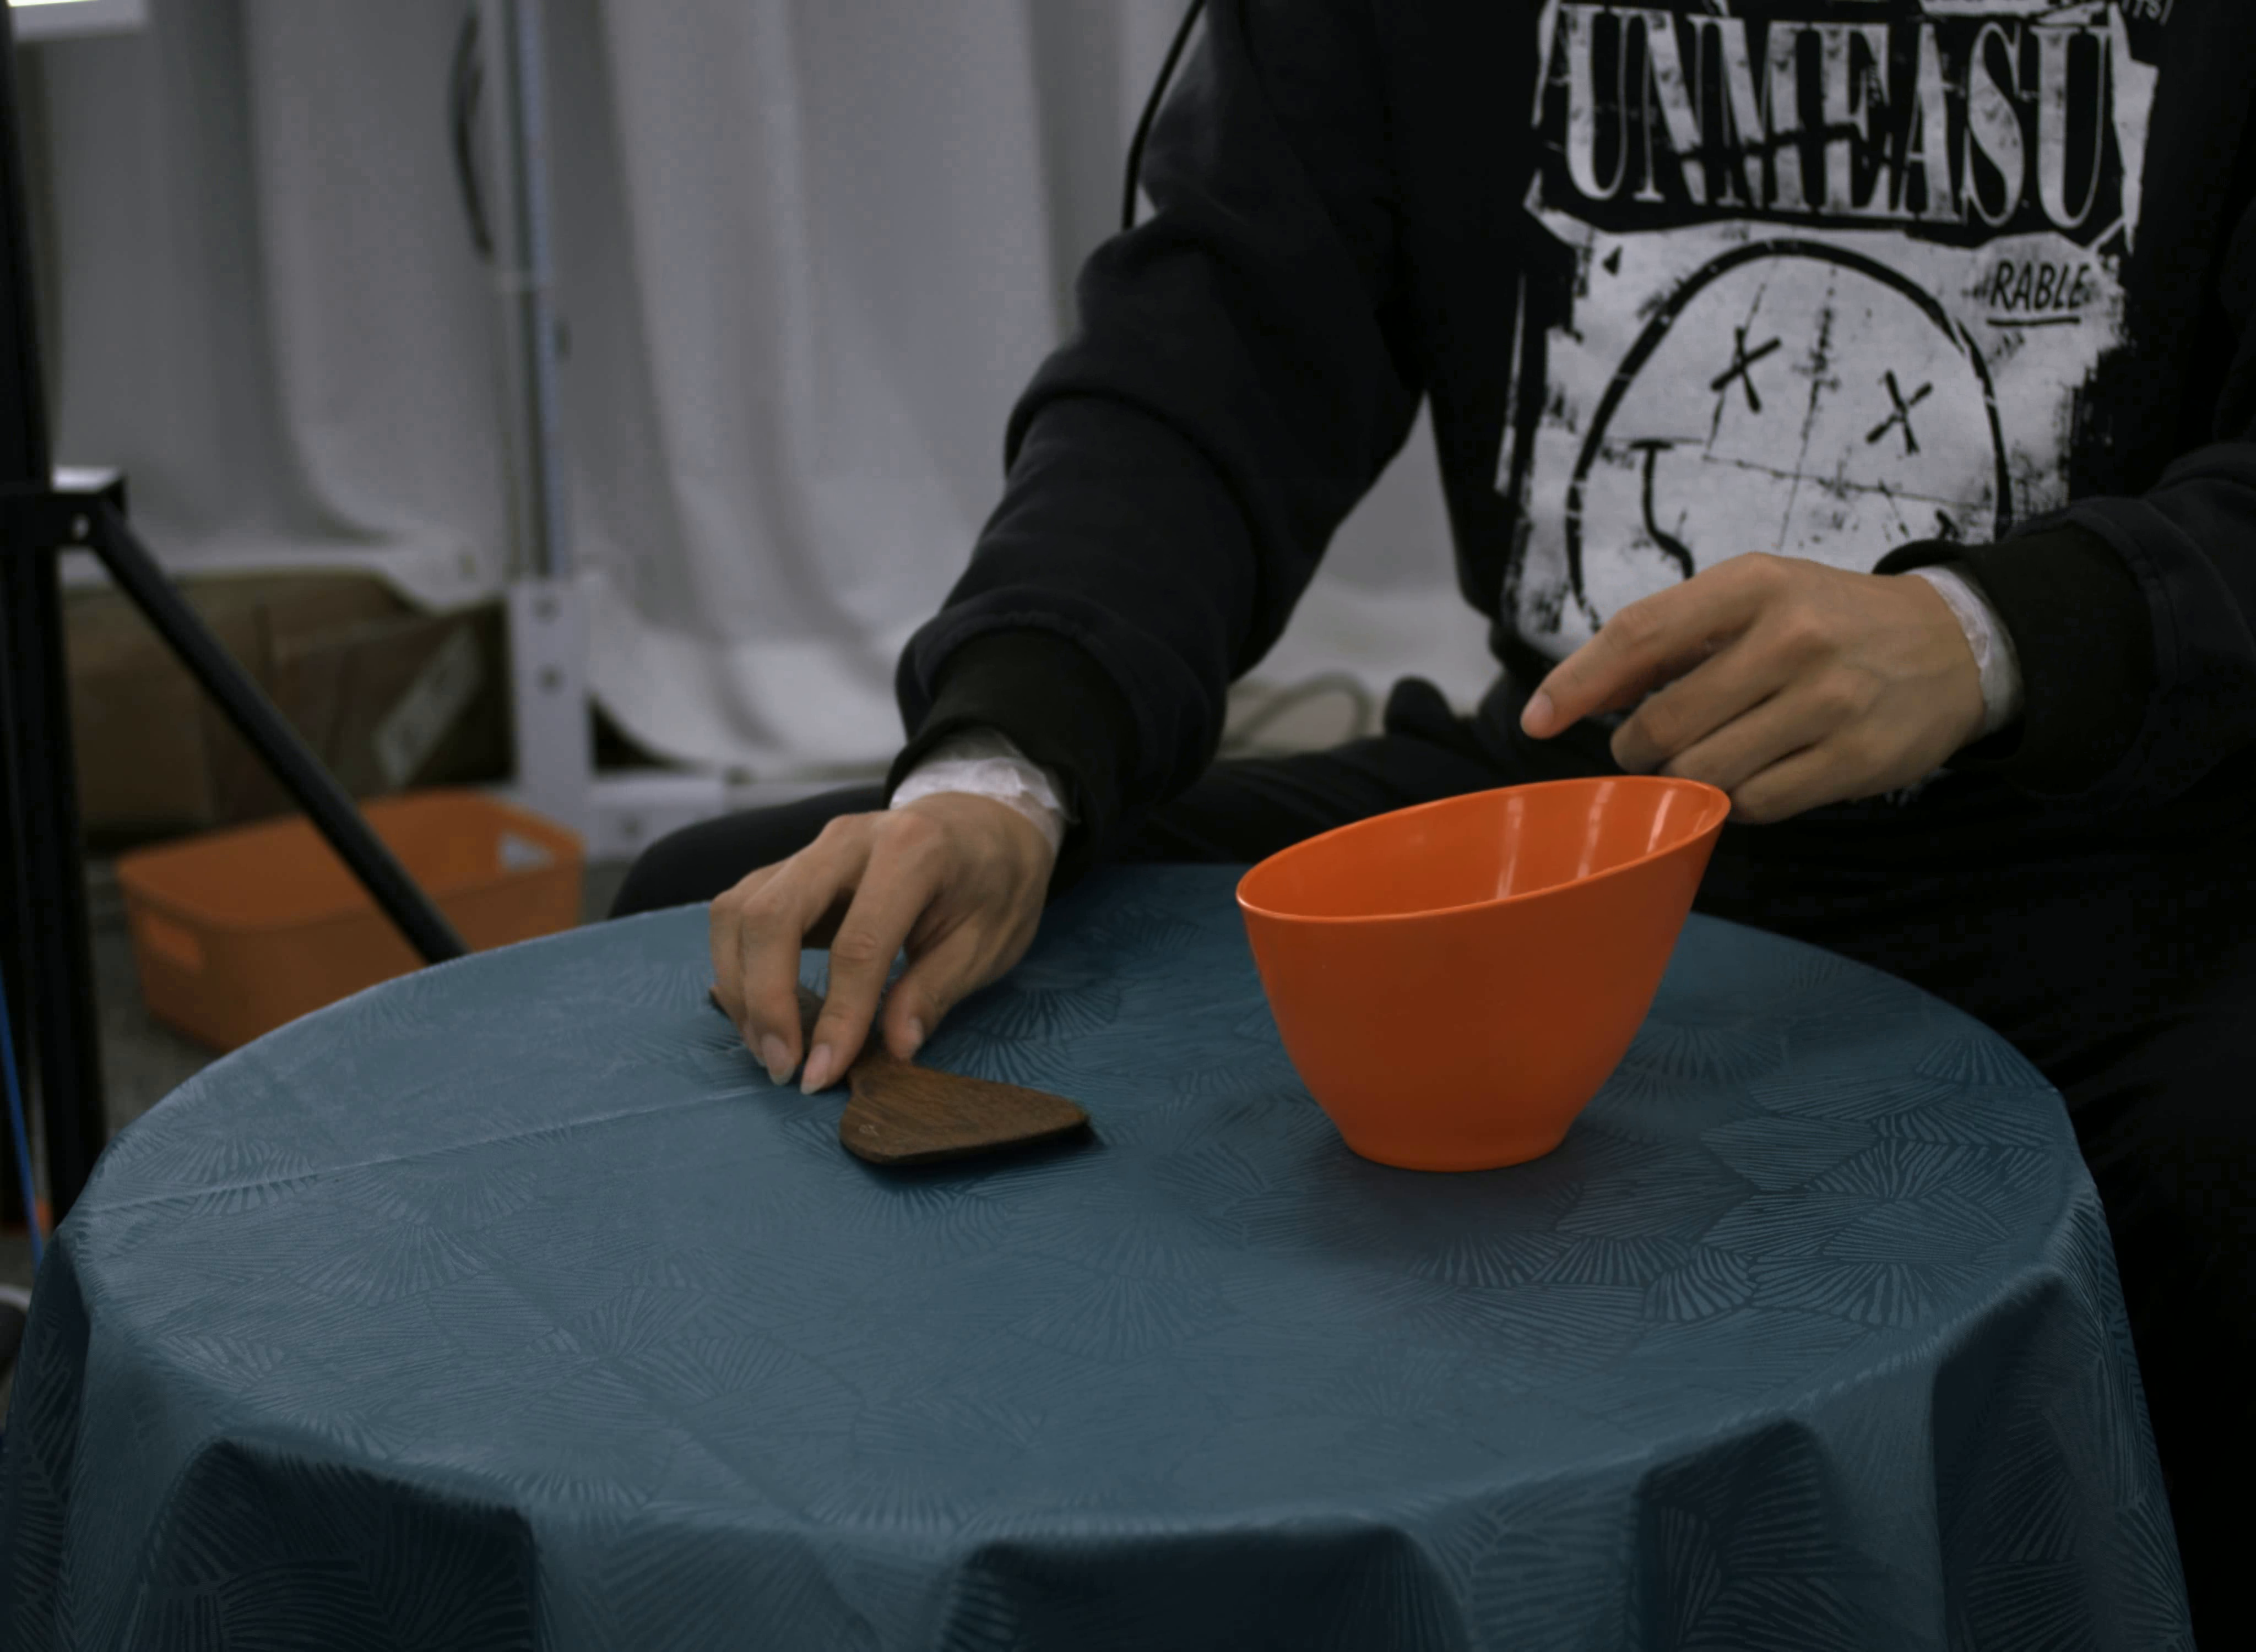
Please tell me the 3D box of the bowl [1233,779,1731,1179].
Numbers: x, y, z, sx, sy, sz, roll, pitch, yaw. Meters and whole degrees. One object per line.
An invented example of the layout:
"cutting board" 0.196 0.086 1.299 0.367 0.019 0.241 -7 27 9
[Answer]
"bowl" 0.105 0.047 1.574 0.147 0.104 0.149 -3 16 -1

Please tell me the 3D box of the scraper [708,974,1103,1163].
"scraper" -0.082 0.075 1.675 0.074 0.011 0.215 -8 16 -24
